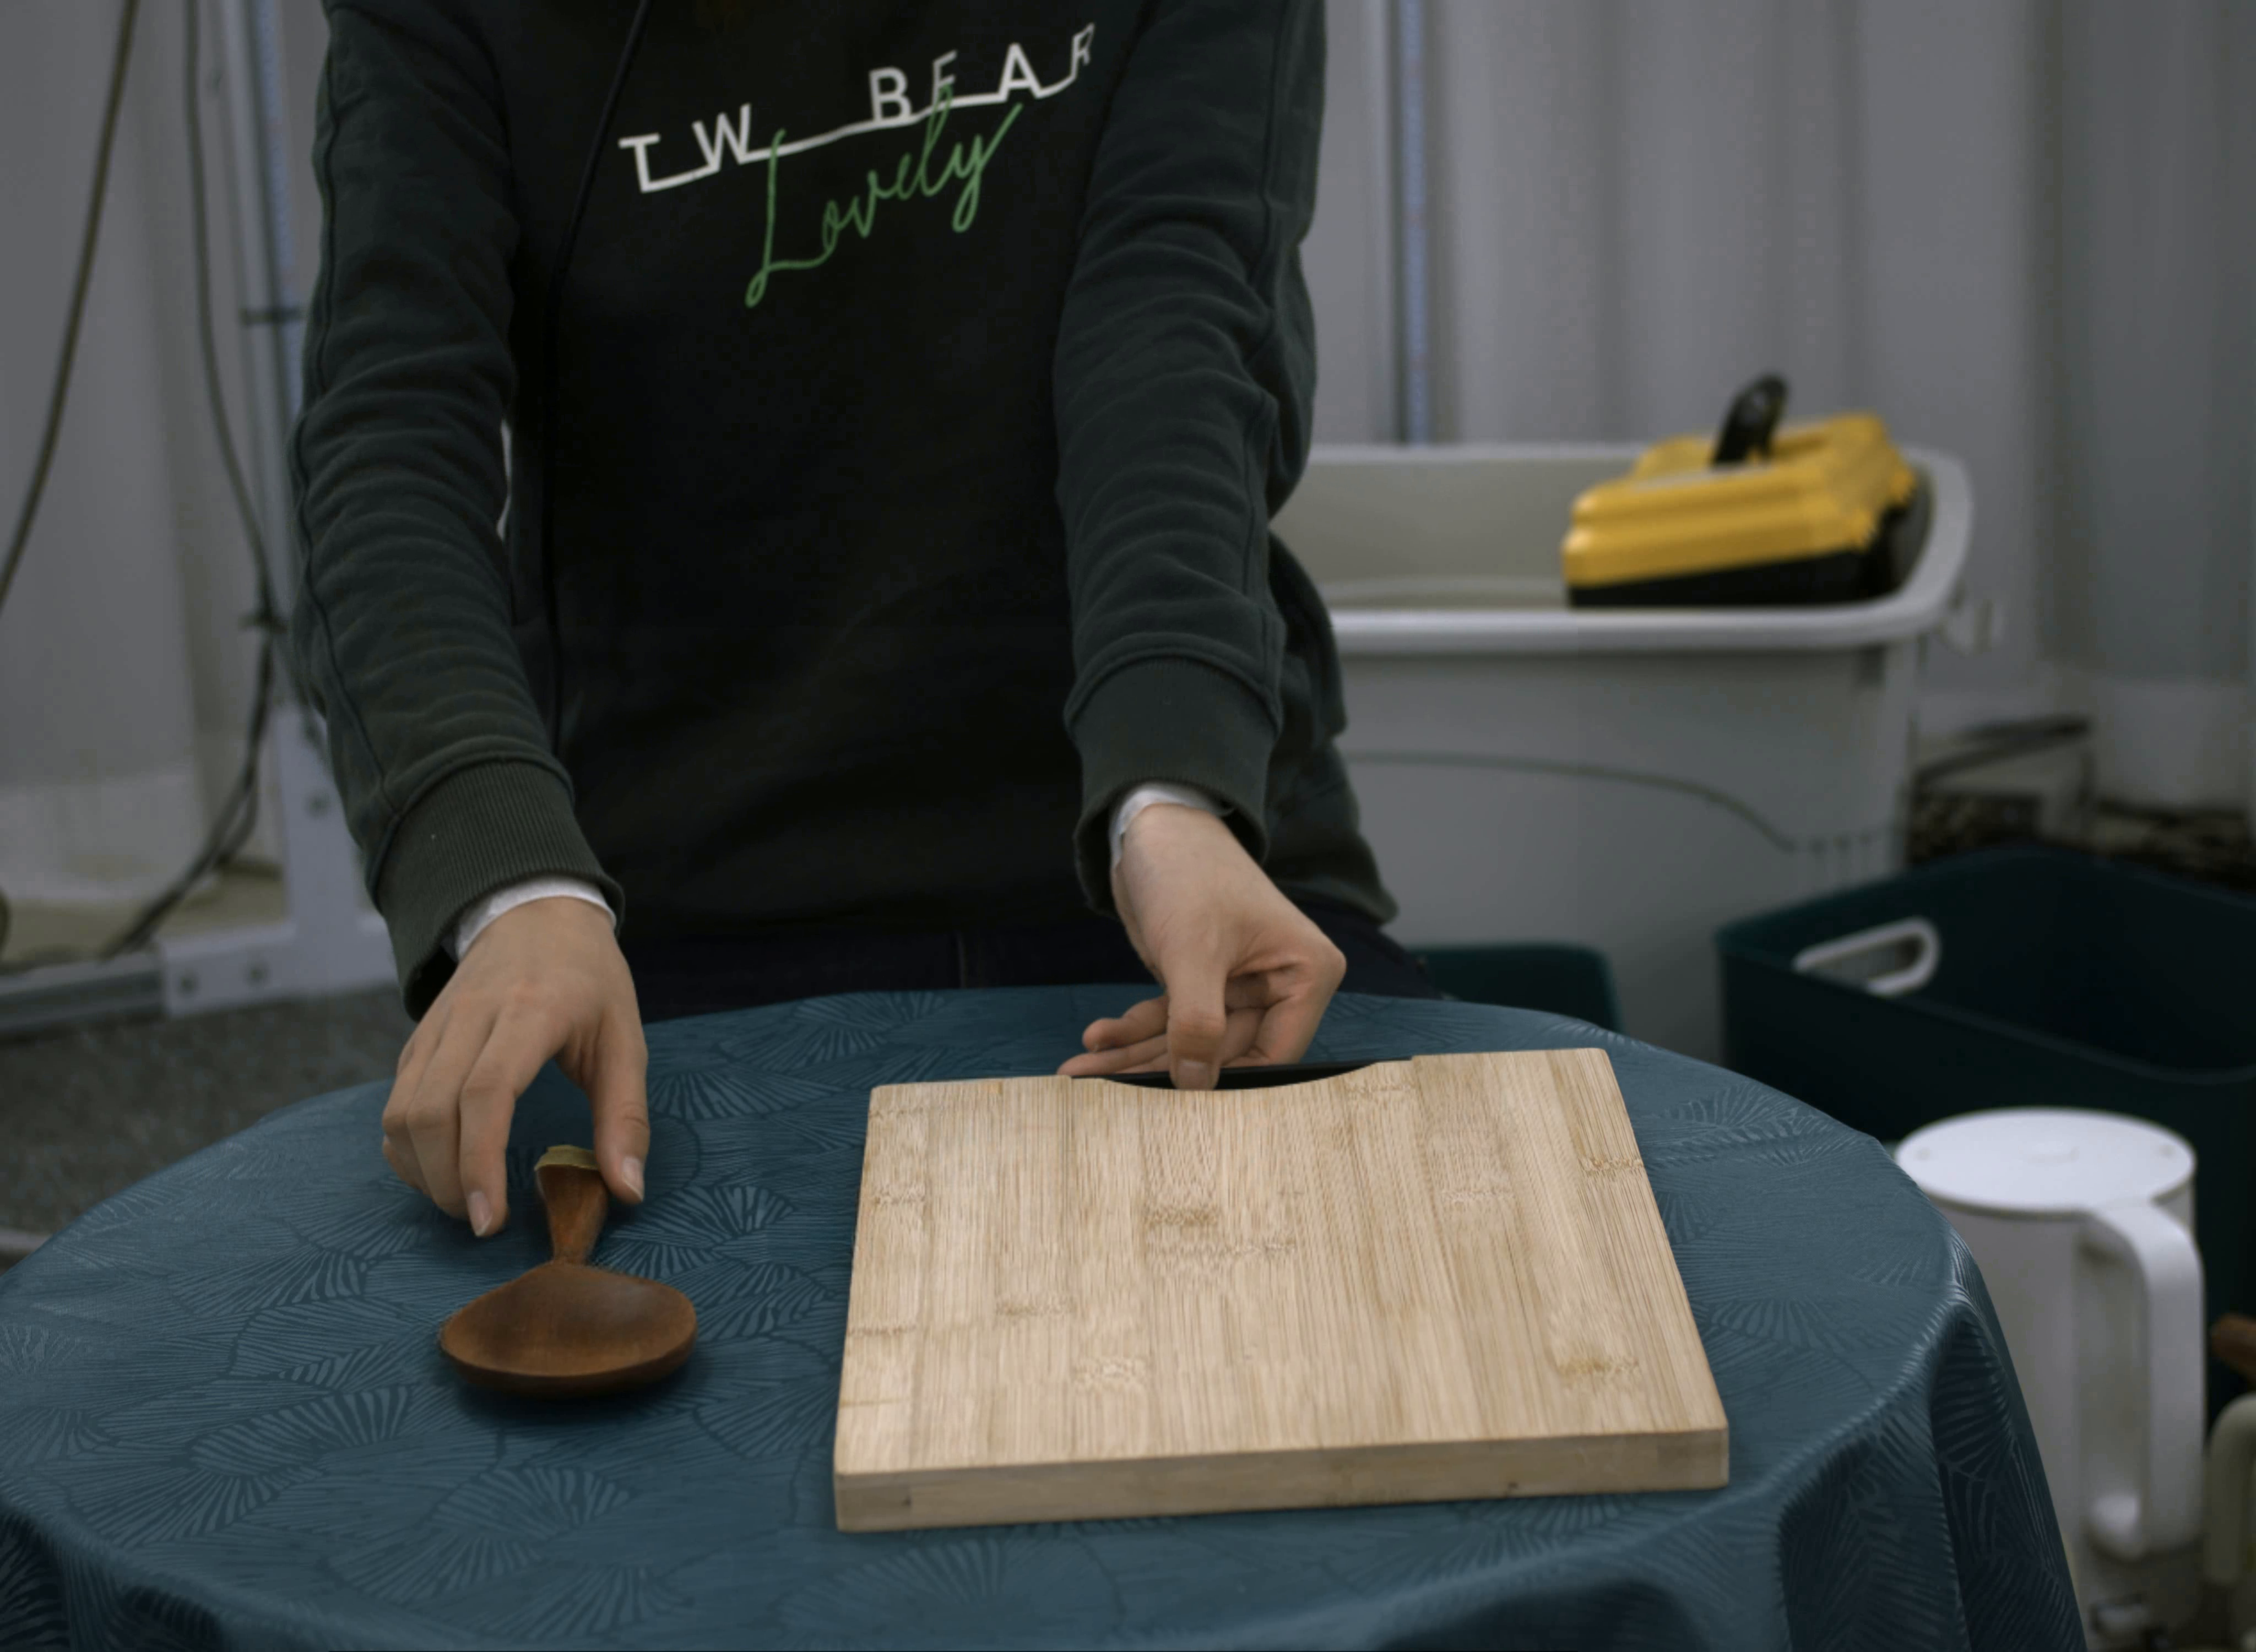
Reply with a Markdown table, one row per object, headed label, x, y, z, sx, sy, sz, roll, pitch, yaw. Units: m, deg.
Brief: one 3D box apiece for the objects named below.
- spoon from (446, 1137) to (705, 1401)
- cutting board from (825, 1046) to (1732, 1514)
| label | x | y | z | sx | sy | sz | roll | pitch | yaw |
| --- | --- | --- | --- | --- | --- | --- | --- | --- | --- |
| spoon | -0.165 | 0.134 | 1.640 | 0.075 | 0.017 | 0.217 | -6 | 16 | -4 |
| cutting board | 0.039 | 0.130 | 1.620 | 0.250 | 0.023 | 0.351 | -3 | 15 | -1 |
